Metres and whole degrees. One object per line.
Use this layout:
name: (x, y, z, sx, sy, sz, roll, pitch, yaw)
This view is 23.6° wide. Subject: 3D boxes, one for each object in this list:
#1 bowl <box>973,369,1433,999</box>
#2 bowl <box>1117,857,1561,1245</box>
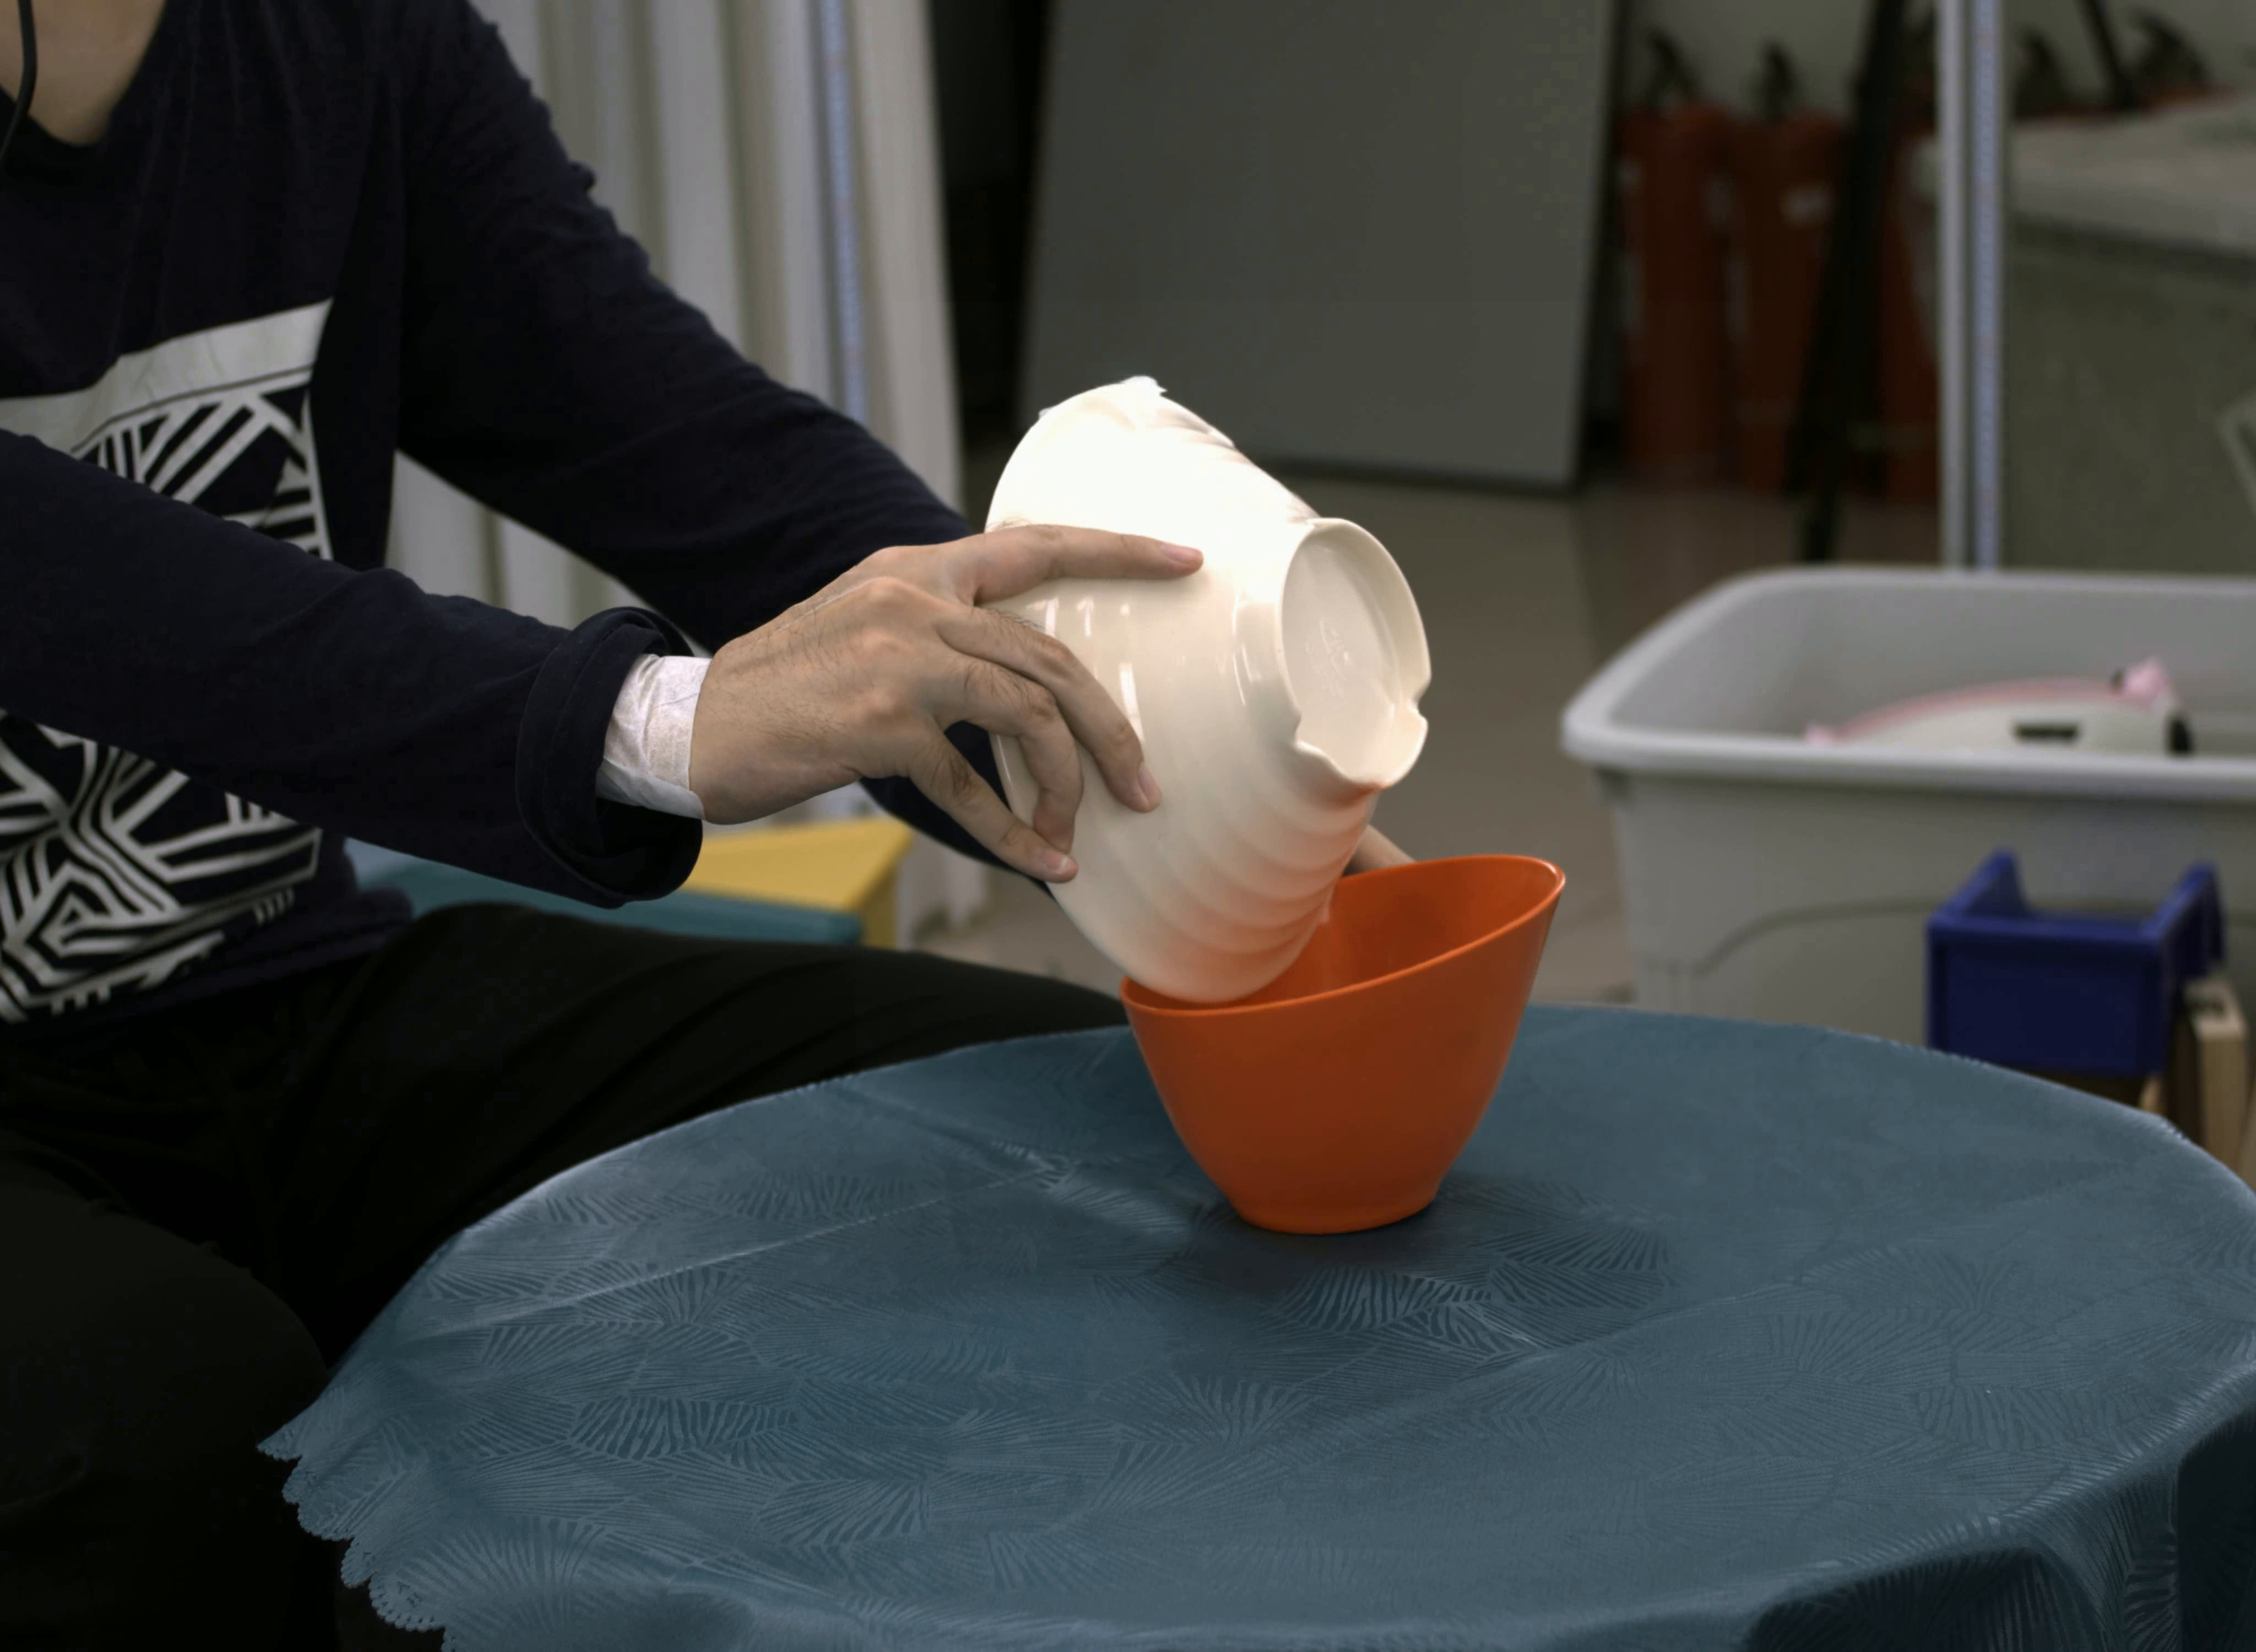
bowl: (0.042, -0.053, 1.710, 0.078, 0.206, 0.200, -14, 5, 35)
bowl: (0.072, 0.074, 1.727, 0.146, 0.105, 0.148, -9, 14, 1)
